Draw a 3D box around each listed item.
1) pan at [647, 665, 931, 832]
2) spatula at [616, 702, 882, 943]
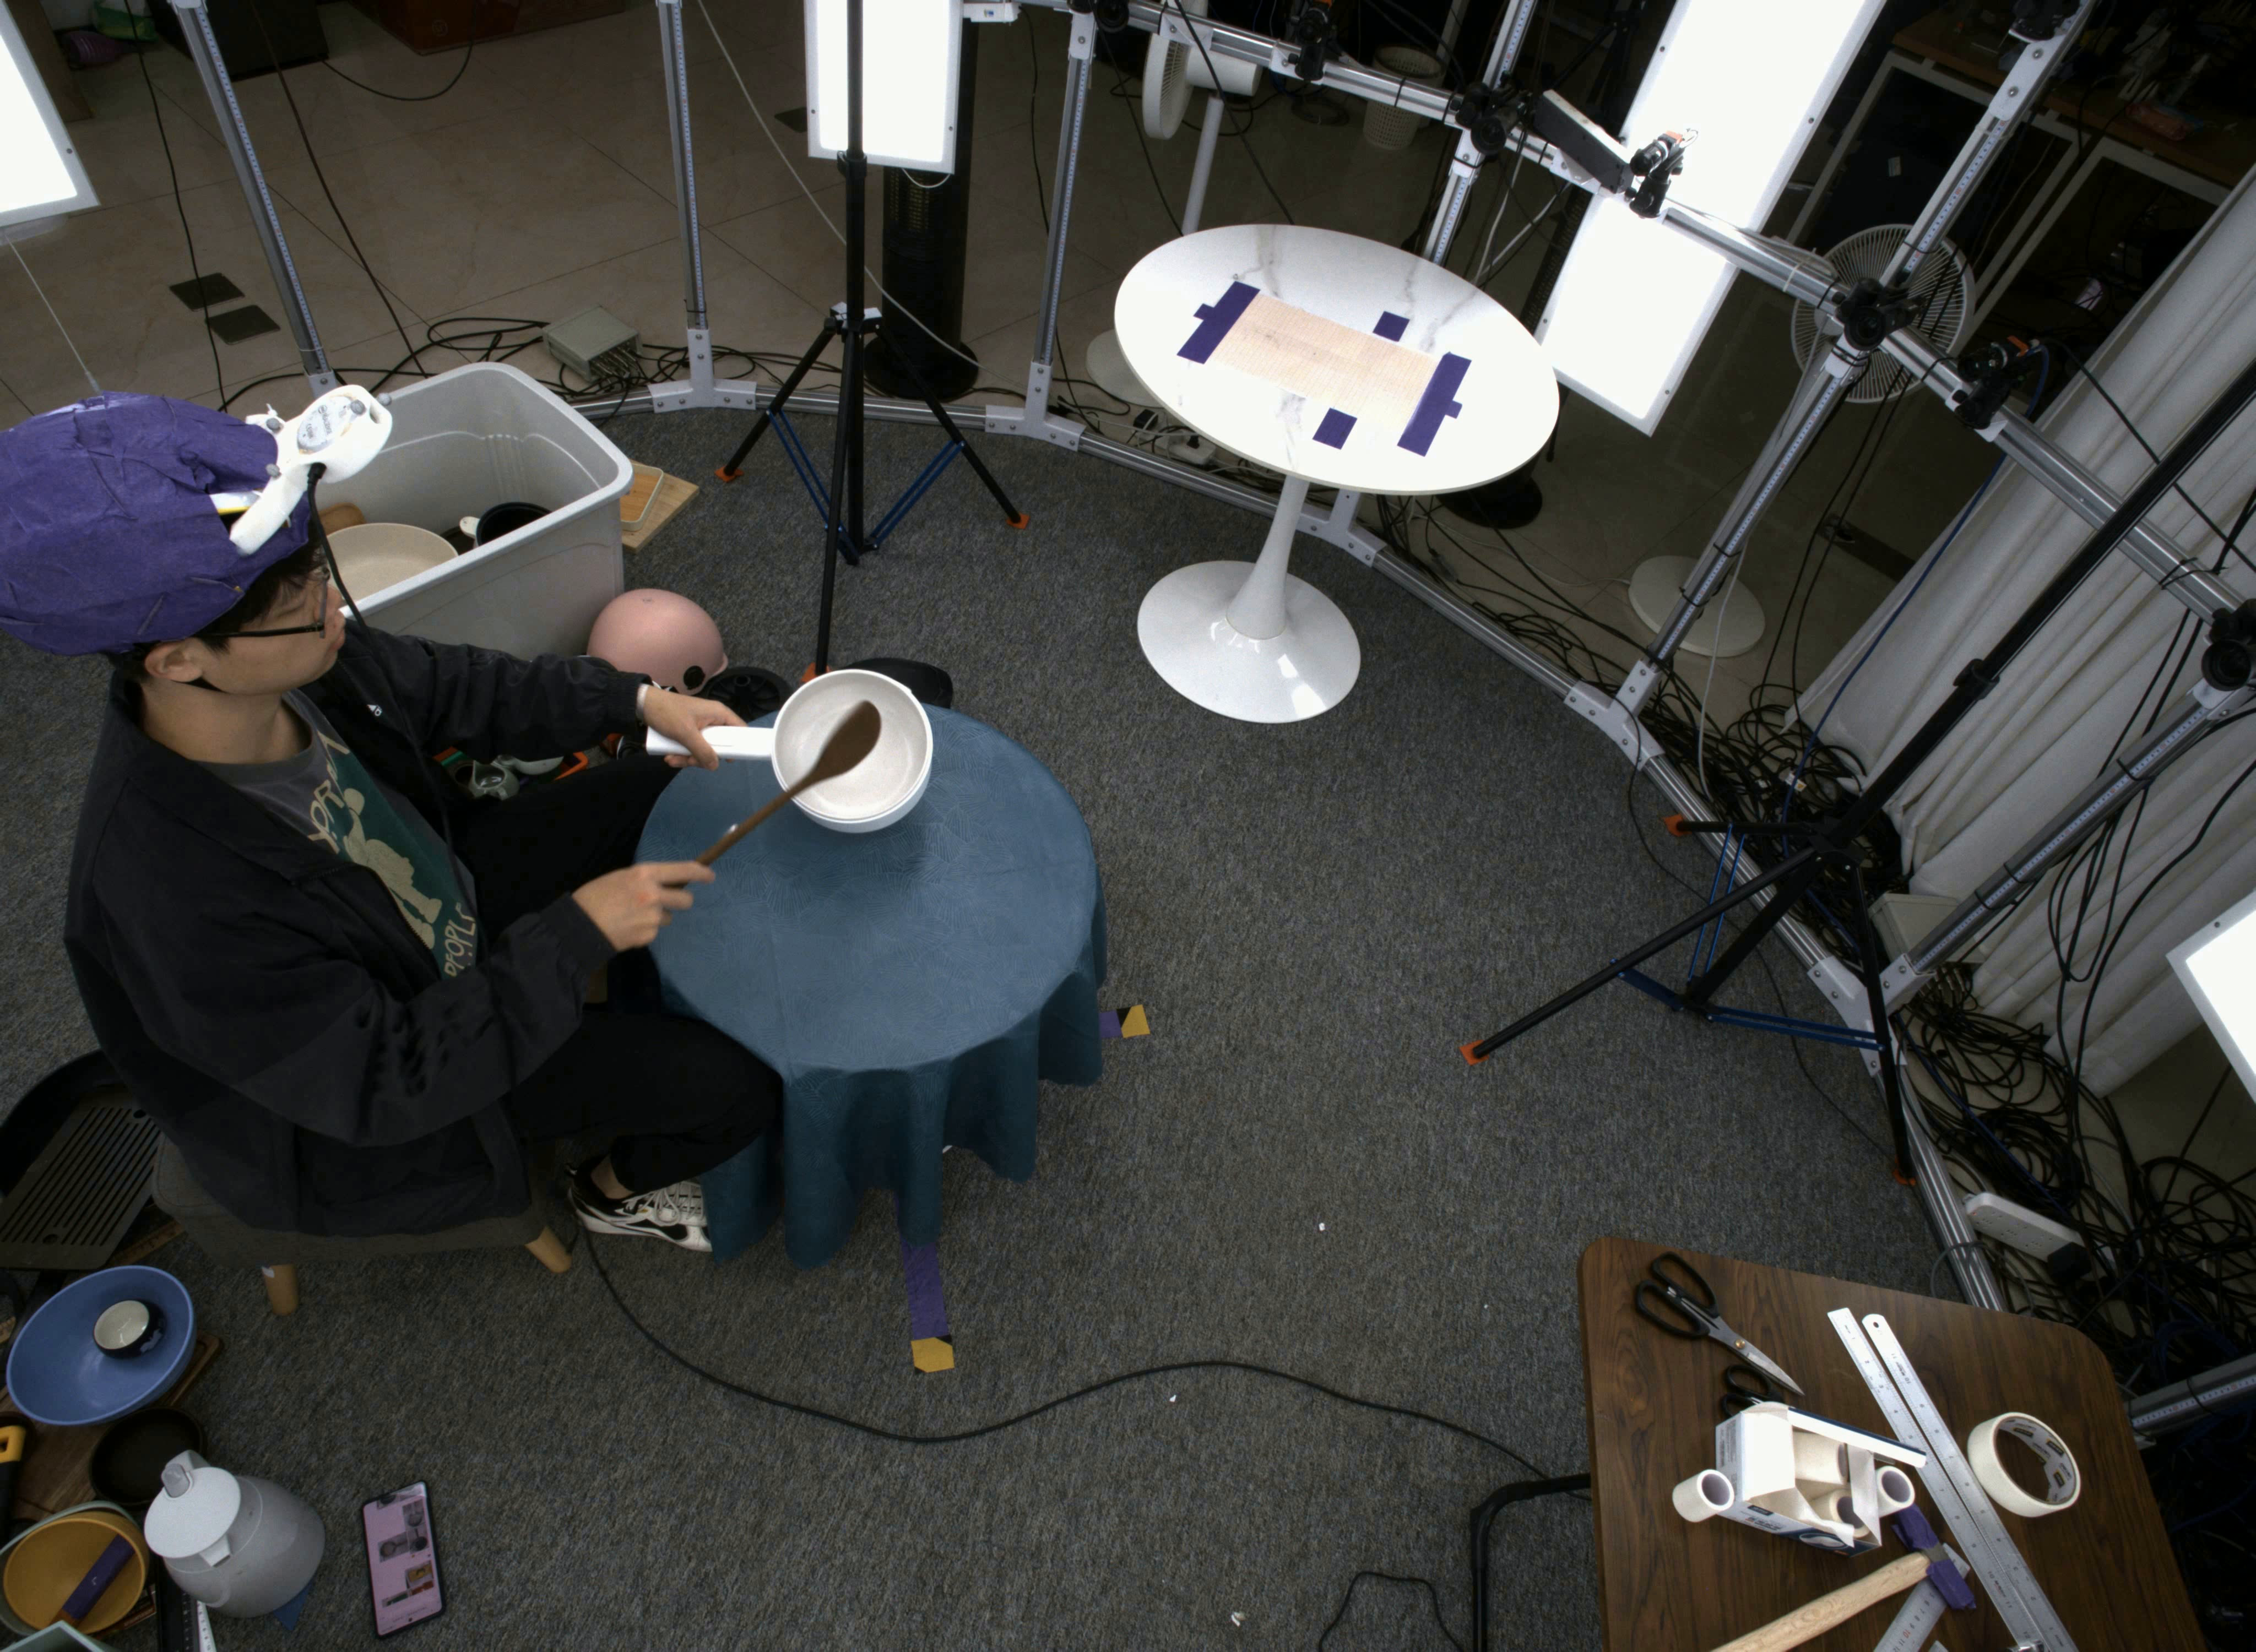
[{"bbox_3d":[-0.429,-0.097,1.661,0.353,0.102,0.201,2,79,-6],"label":"pan"},{"bbox_3d":[-0.422,-0.004,1.447,0.386,0.097,0.015,-42,75,-19],"label":"spatula"}]
